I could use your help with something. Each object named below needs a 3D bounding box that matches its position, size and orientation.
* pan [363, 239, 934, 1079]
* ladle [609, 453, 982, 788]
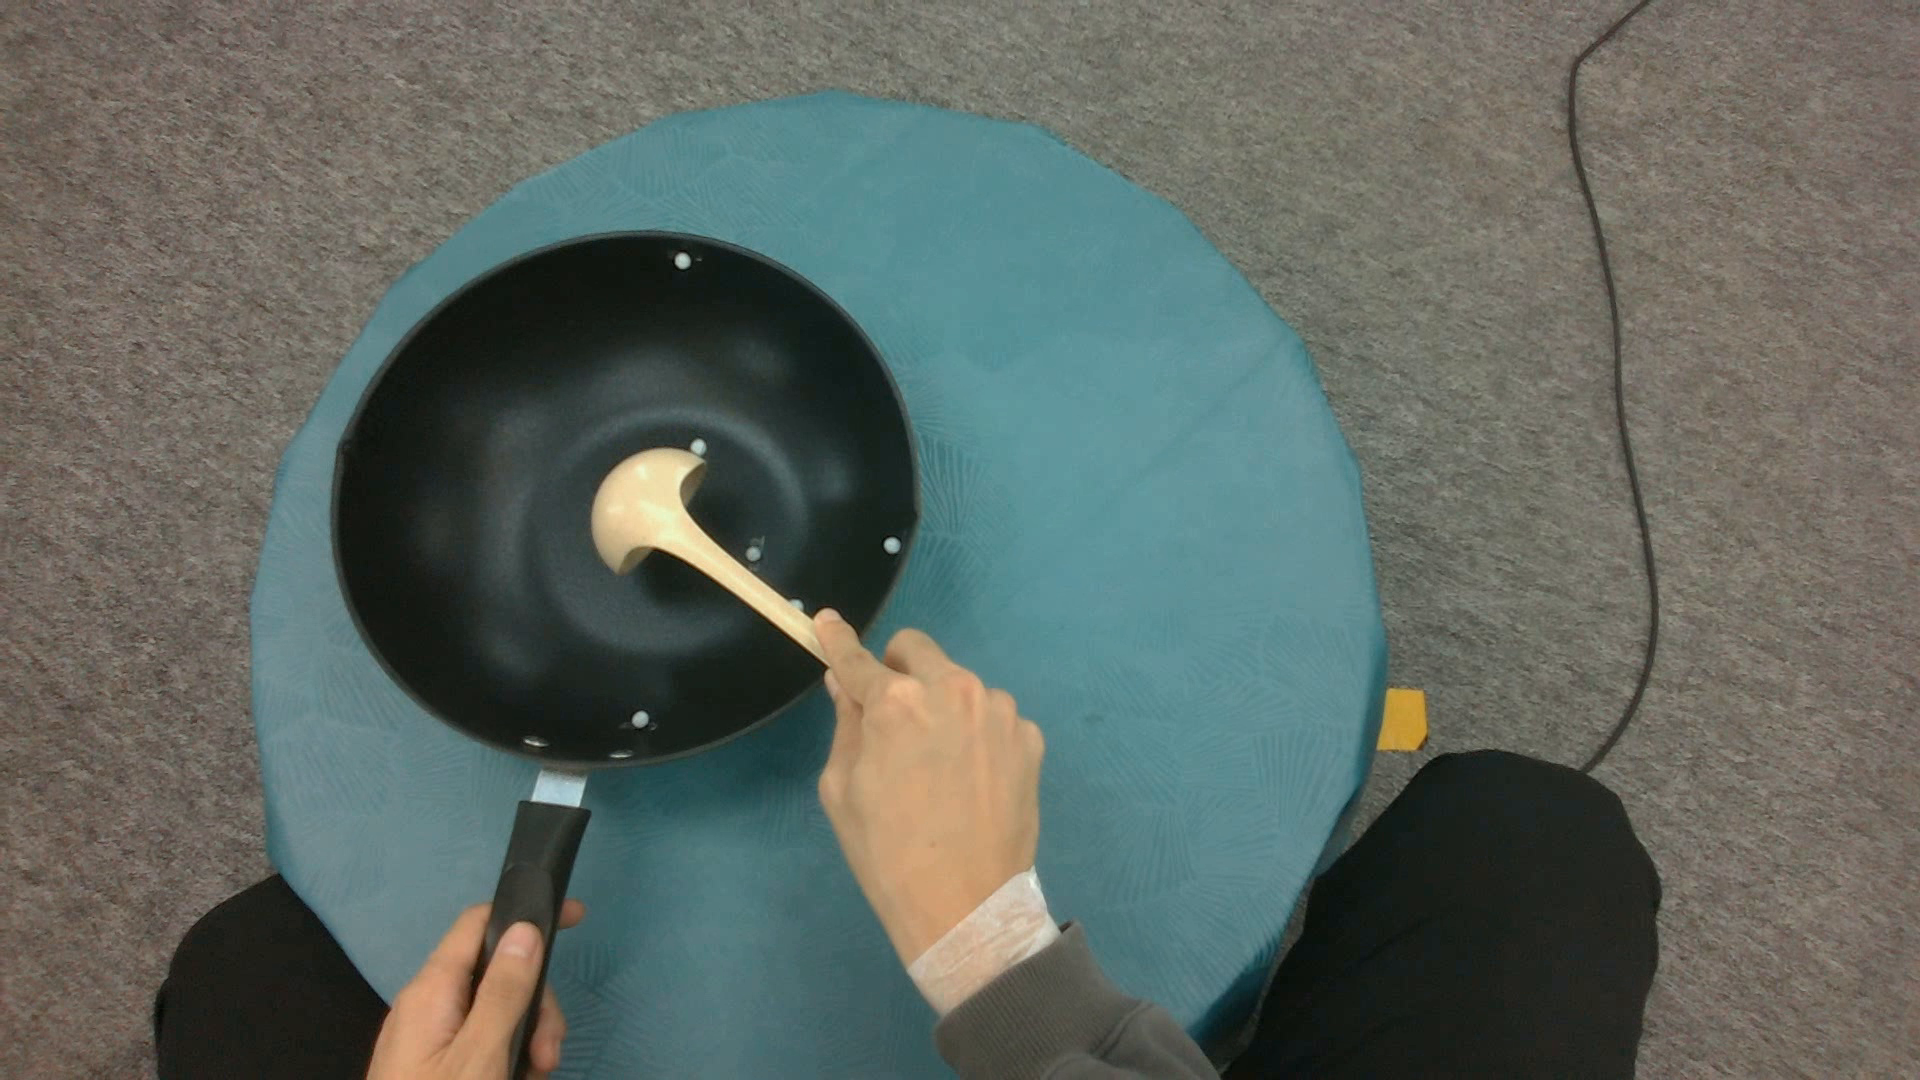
[{"bbox_3d":[-0.169,0.072,0.691,0.288,0.086,0.464,8,72,3],"label":"pan"},{"bbox_3d":[-0.076,0.044,0.675,0.254,0.072,0.072,38,83,24],"label":"ladle"}]
